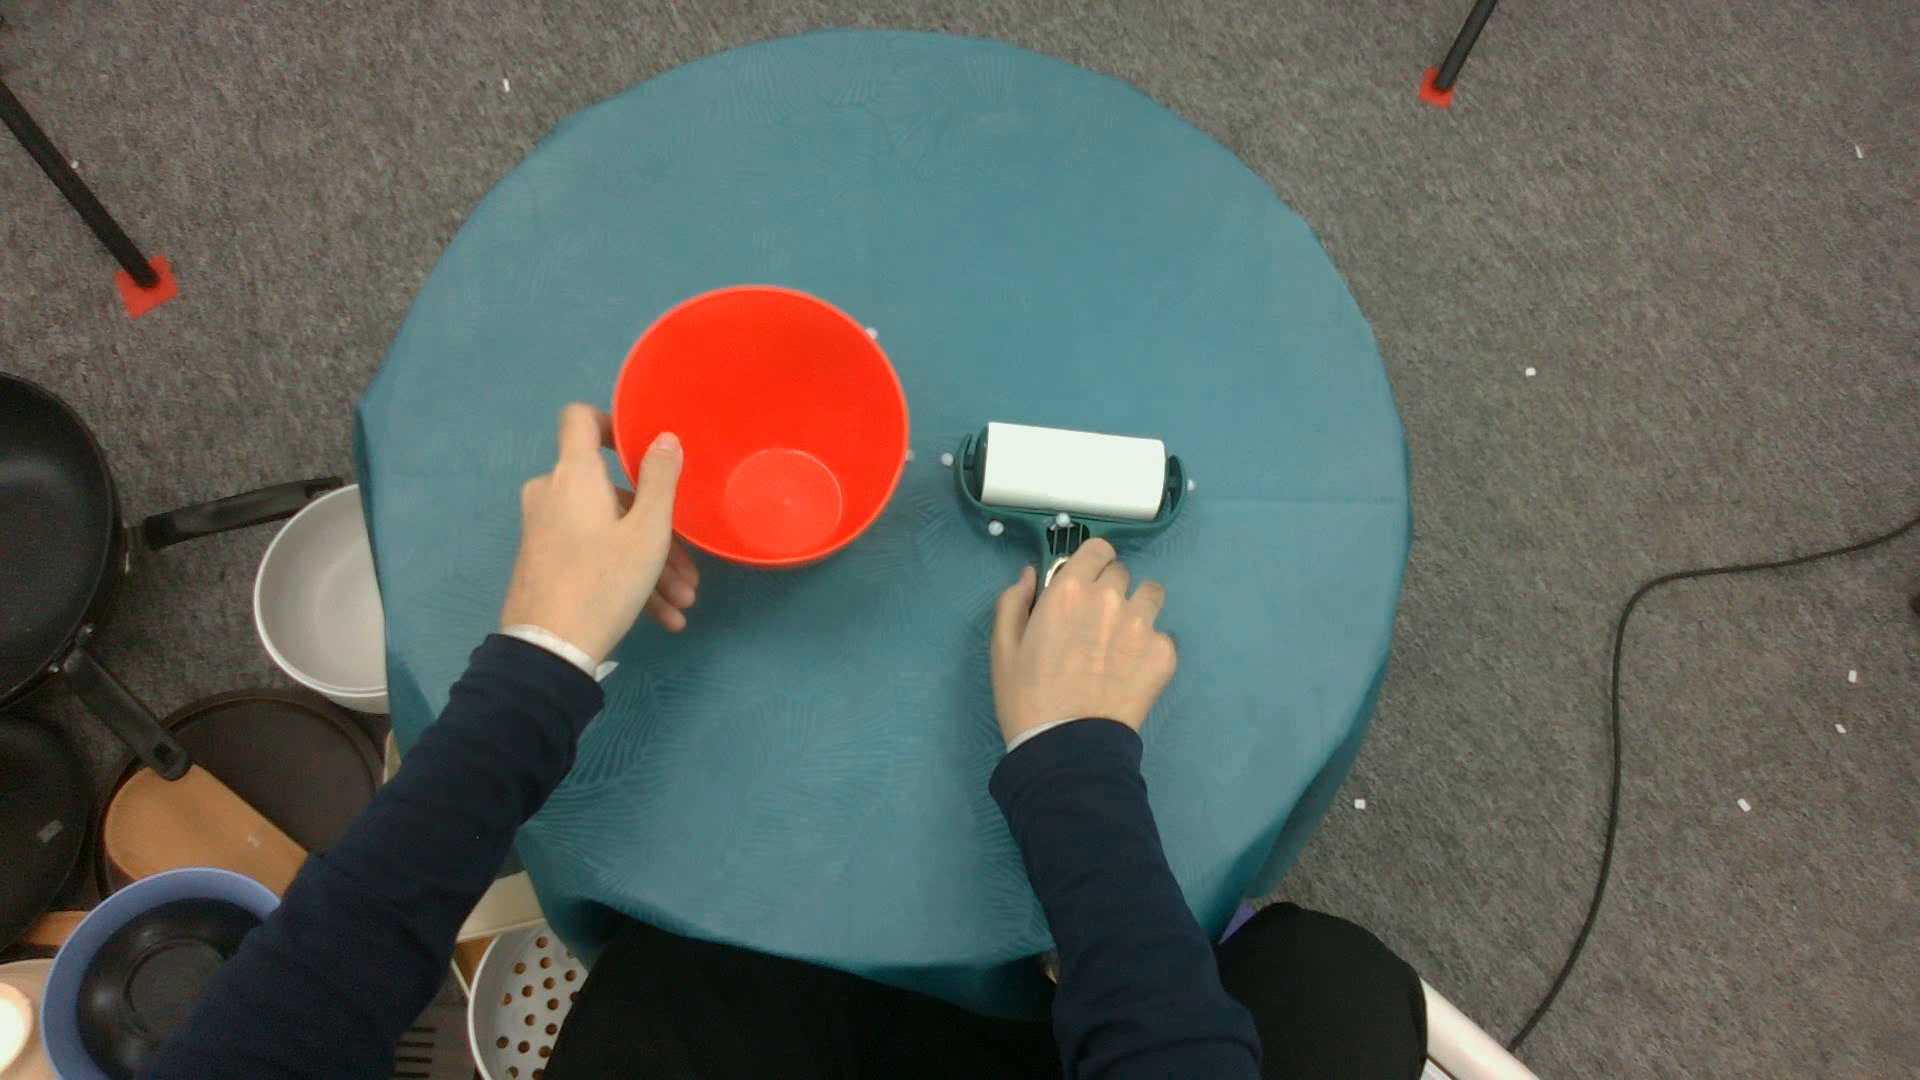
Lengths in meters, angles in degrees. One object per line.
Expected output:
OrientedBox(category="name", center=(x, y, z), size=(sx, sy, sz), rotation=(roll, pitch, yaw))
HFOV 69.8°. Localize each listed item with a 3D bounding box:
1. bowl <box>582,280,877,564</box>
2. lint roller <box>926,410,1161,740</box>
OrientedBox(category="bowl", center=(-0.119, -0.050, 0.735), size=(0.148, 0.104, 0.148), rotation=(2, 70, -6))
OrientedBox(category="lint roller", center=(0.042, 0.016, 0.753), size=(0.134, 0.048, 0.180), rotation=(6, 68, -5))
